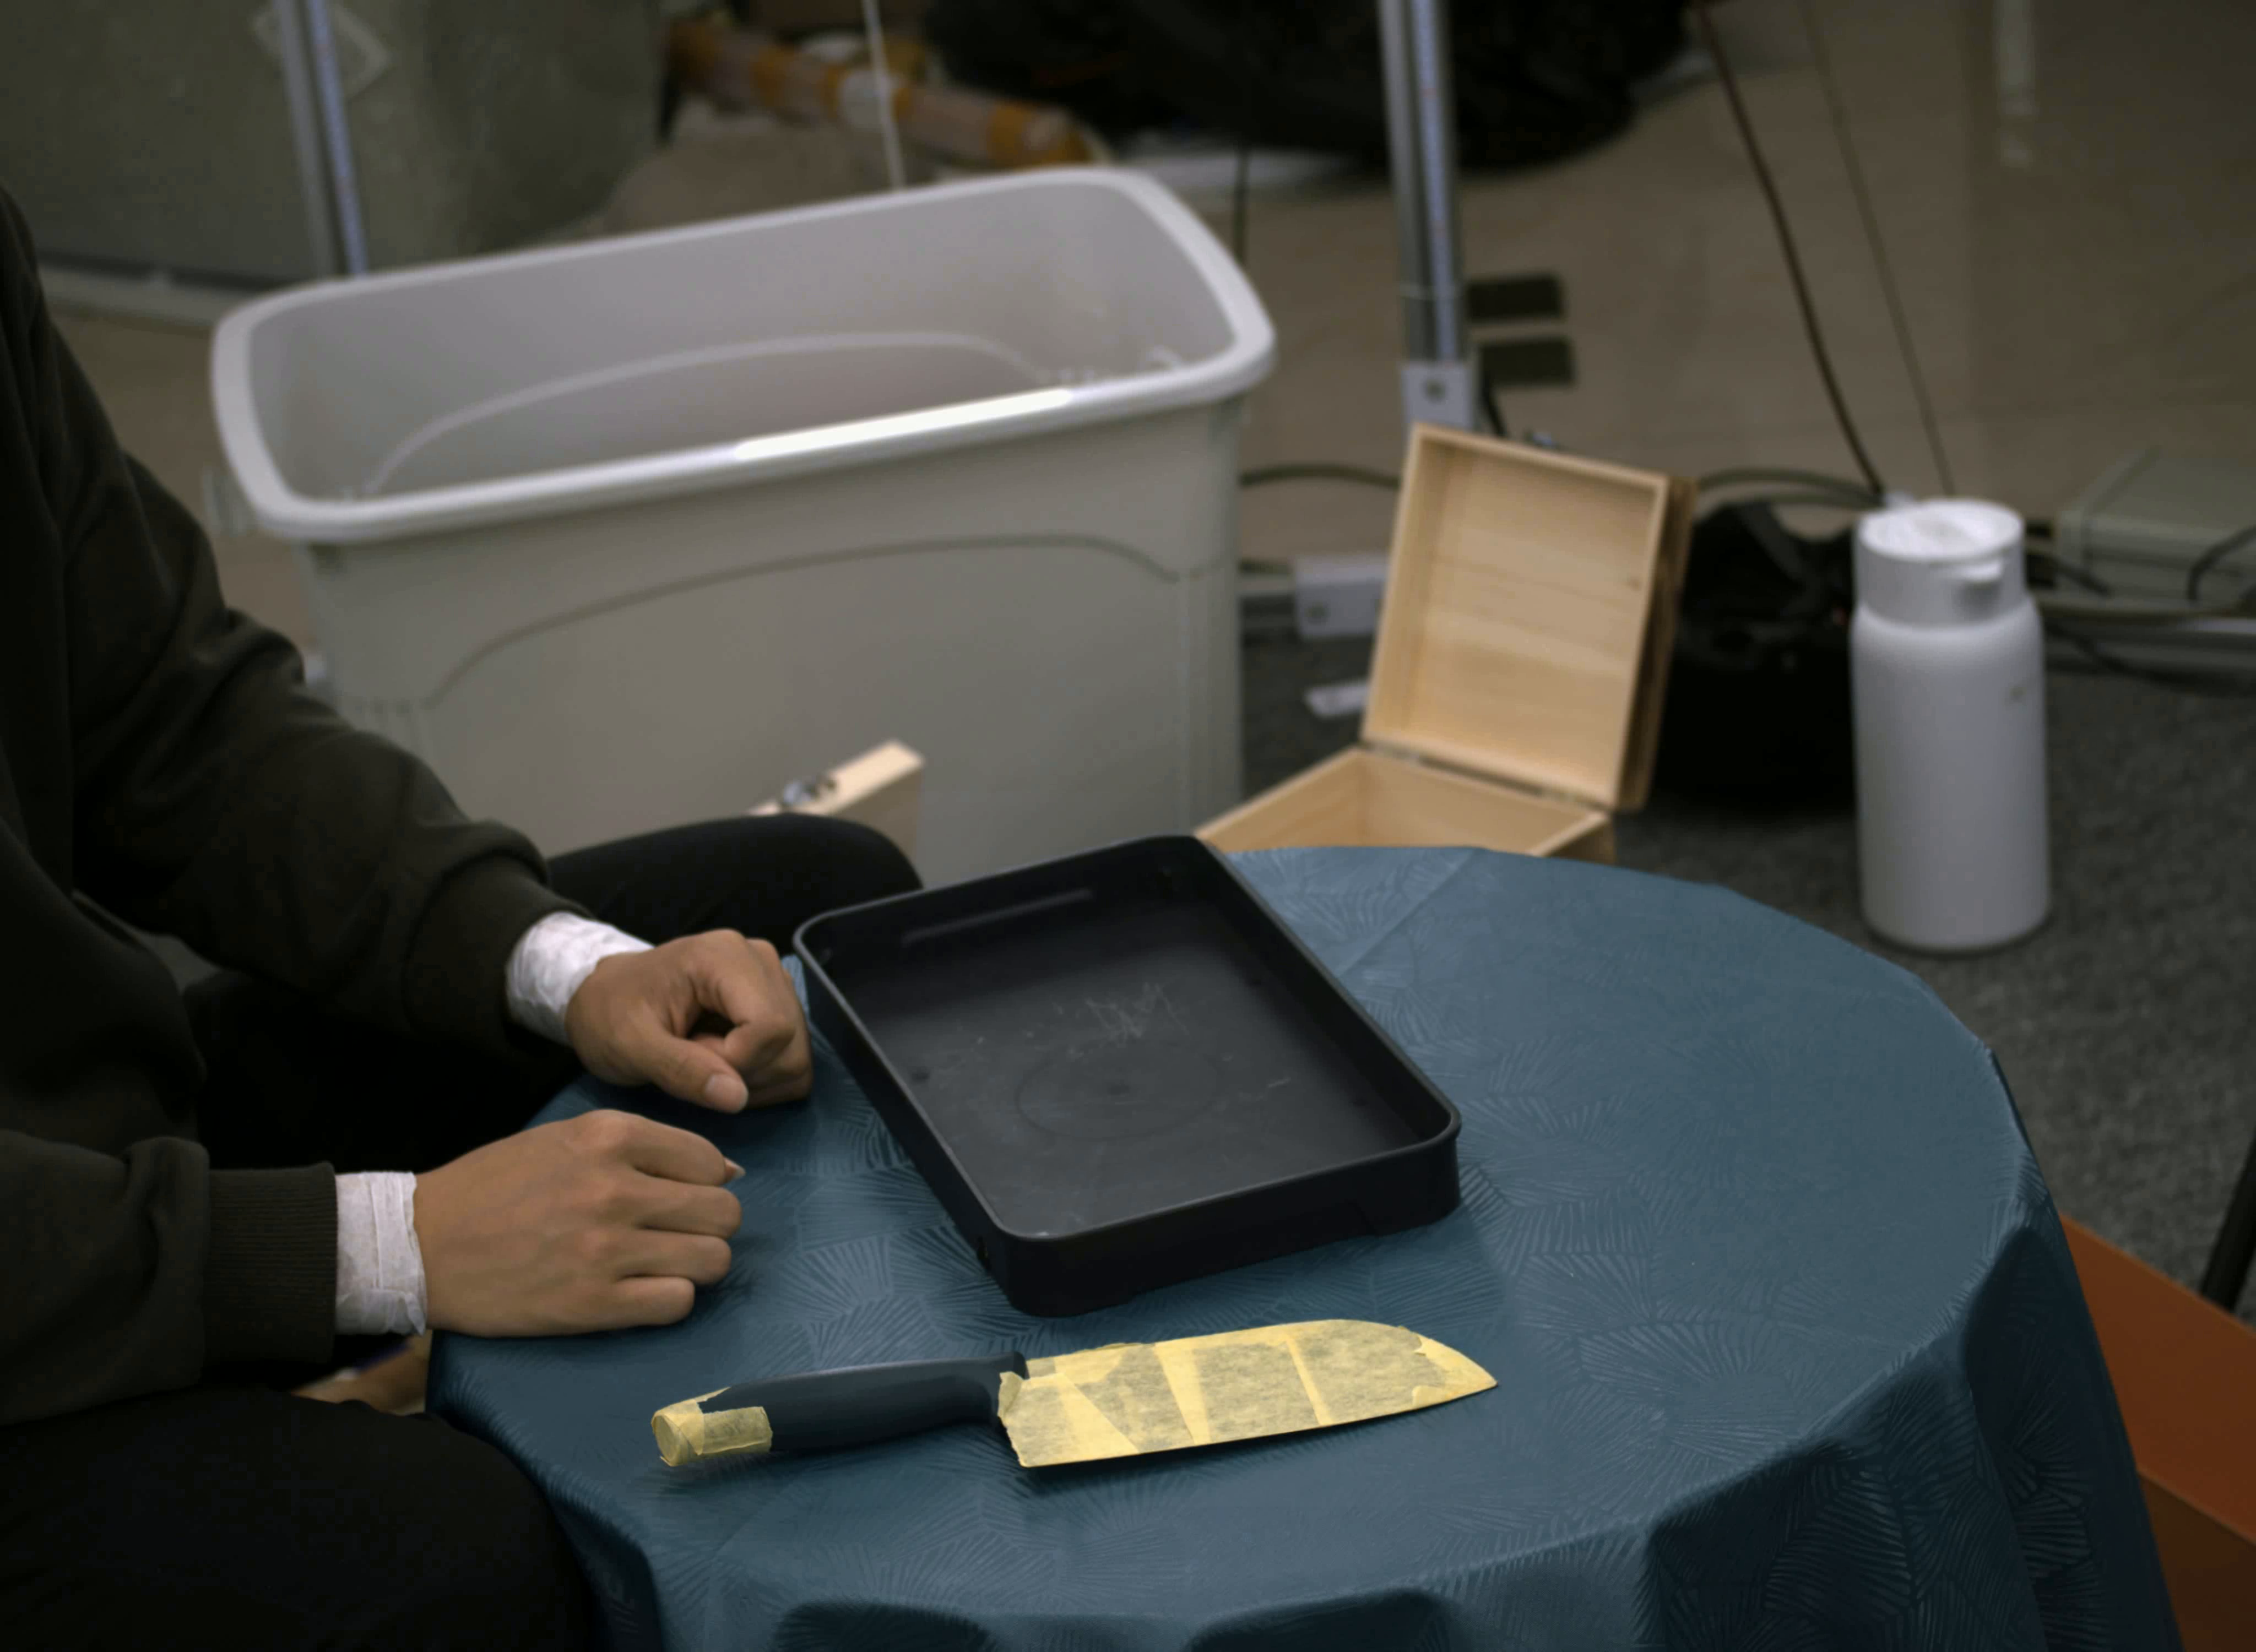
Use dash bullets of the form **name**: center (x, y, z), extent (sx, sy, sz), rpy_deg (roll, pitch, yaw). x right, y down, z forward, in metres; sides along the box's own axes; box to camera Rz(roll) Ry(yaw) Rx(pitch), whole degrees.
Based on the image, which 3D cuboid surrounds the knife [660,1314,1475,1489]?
- **knife**: center (-0.020, 0.205, 1.996), extent (0.289, 0.027, 0.080), rpy_deg (-8, 23, -5)

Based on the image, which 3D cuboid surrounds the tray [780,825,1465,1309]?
- **tray**: center (-0.007, 0.089, 2.218), extent (0.183, 0.037, 0.314), rpy_deg (-15, 26, -16)
